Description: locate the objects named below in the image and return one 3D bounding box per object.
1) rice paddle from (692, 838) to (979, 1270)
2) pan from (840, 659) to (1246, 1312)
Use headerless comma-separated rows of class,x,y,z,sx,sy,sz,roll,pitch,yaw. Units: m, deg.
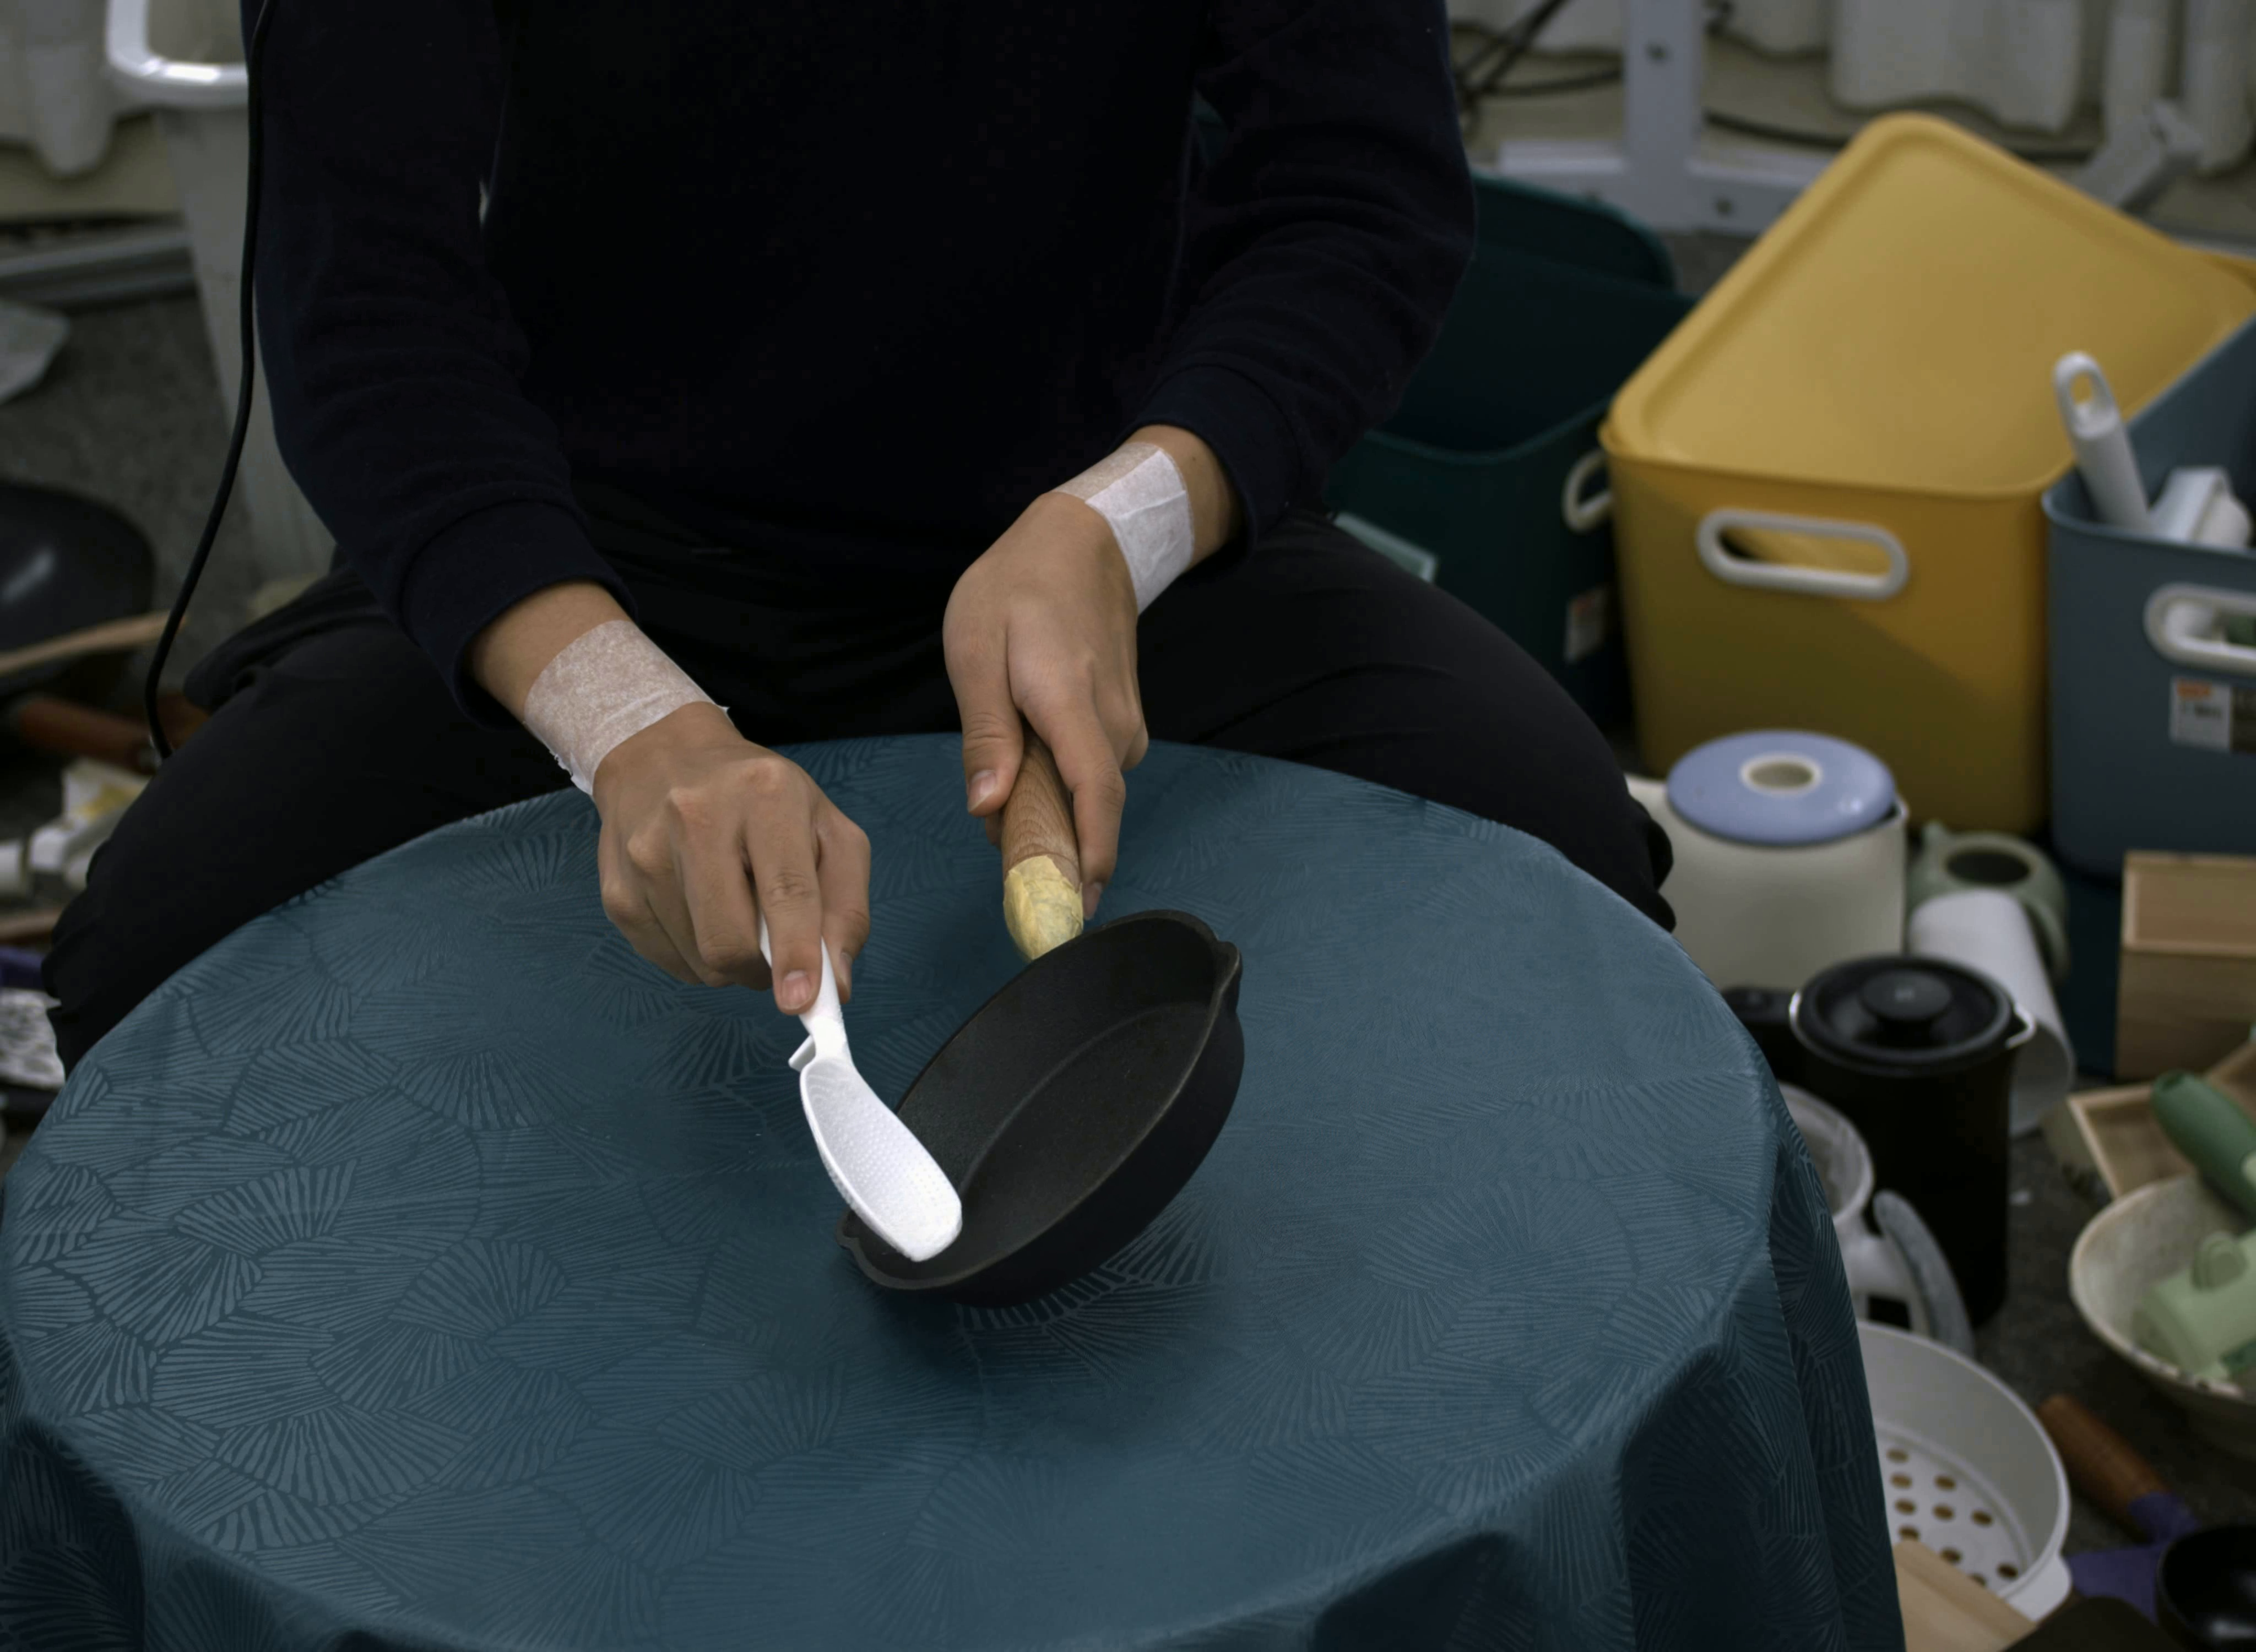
rice paddle,-0.095,0.074,1.813,0.068,0.029,0.208,32,17,-39
pan,-0.024,0.045,1.877,0.167,0.049,0.330,-34,27,20
